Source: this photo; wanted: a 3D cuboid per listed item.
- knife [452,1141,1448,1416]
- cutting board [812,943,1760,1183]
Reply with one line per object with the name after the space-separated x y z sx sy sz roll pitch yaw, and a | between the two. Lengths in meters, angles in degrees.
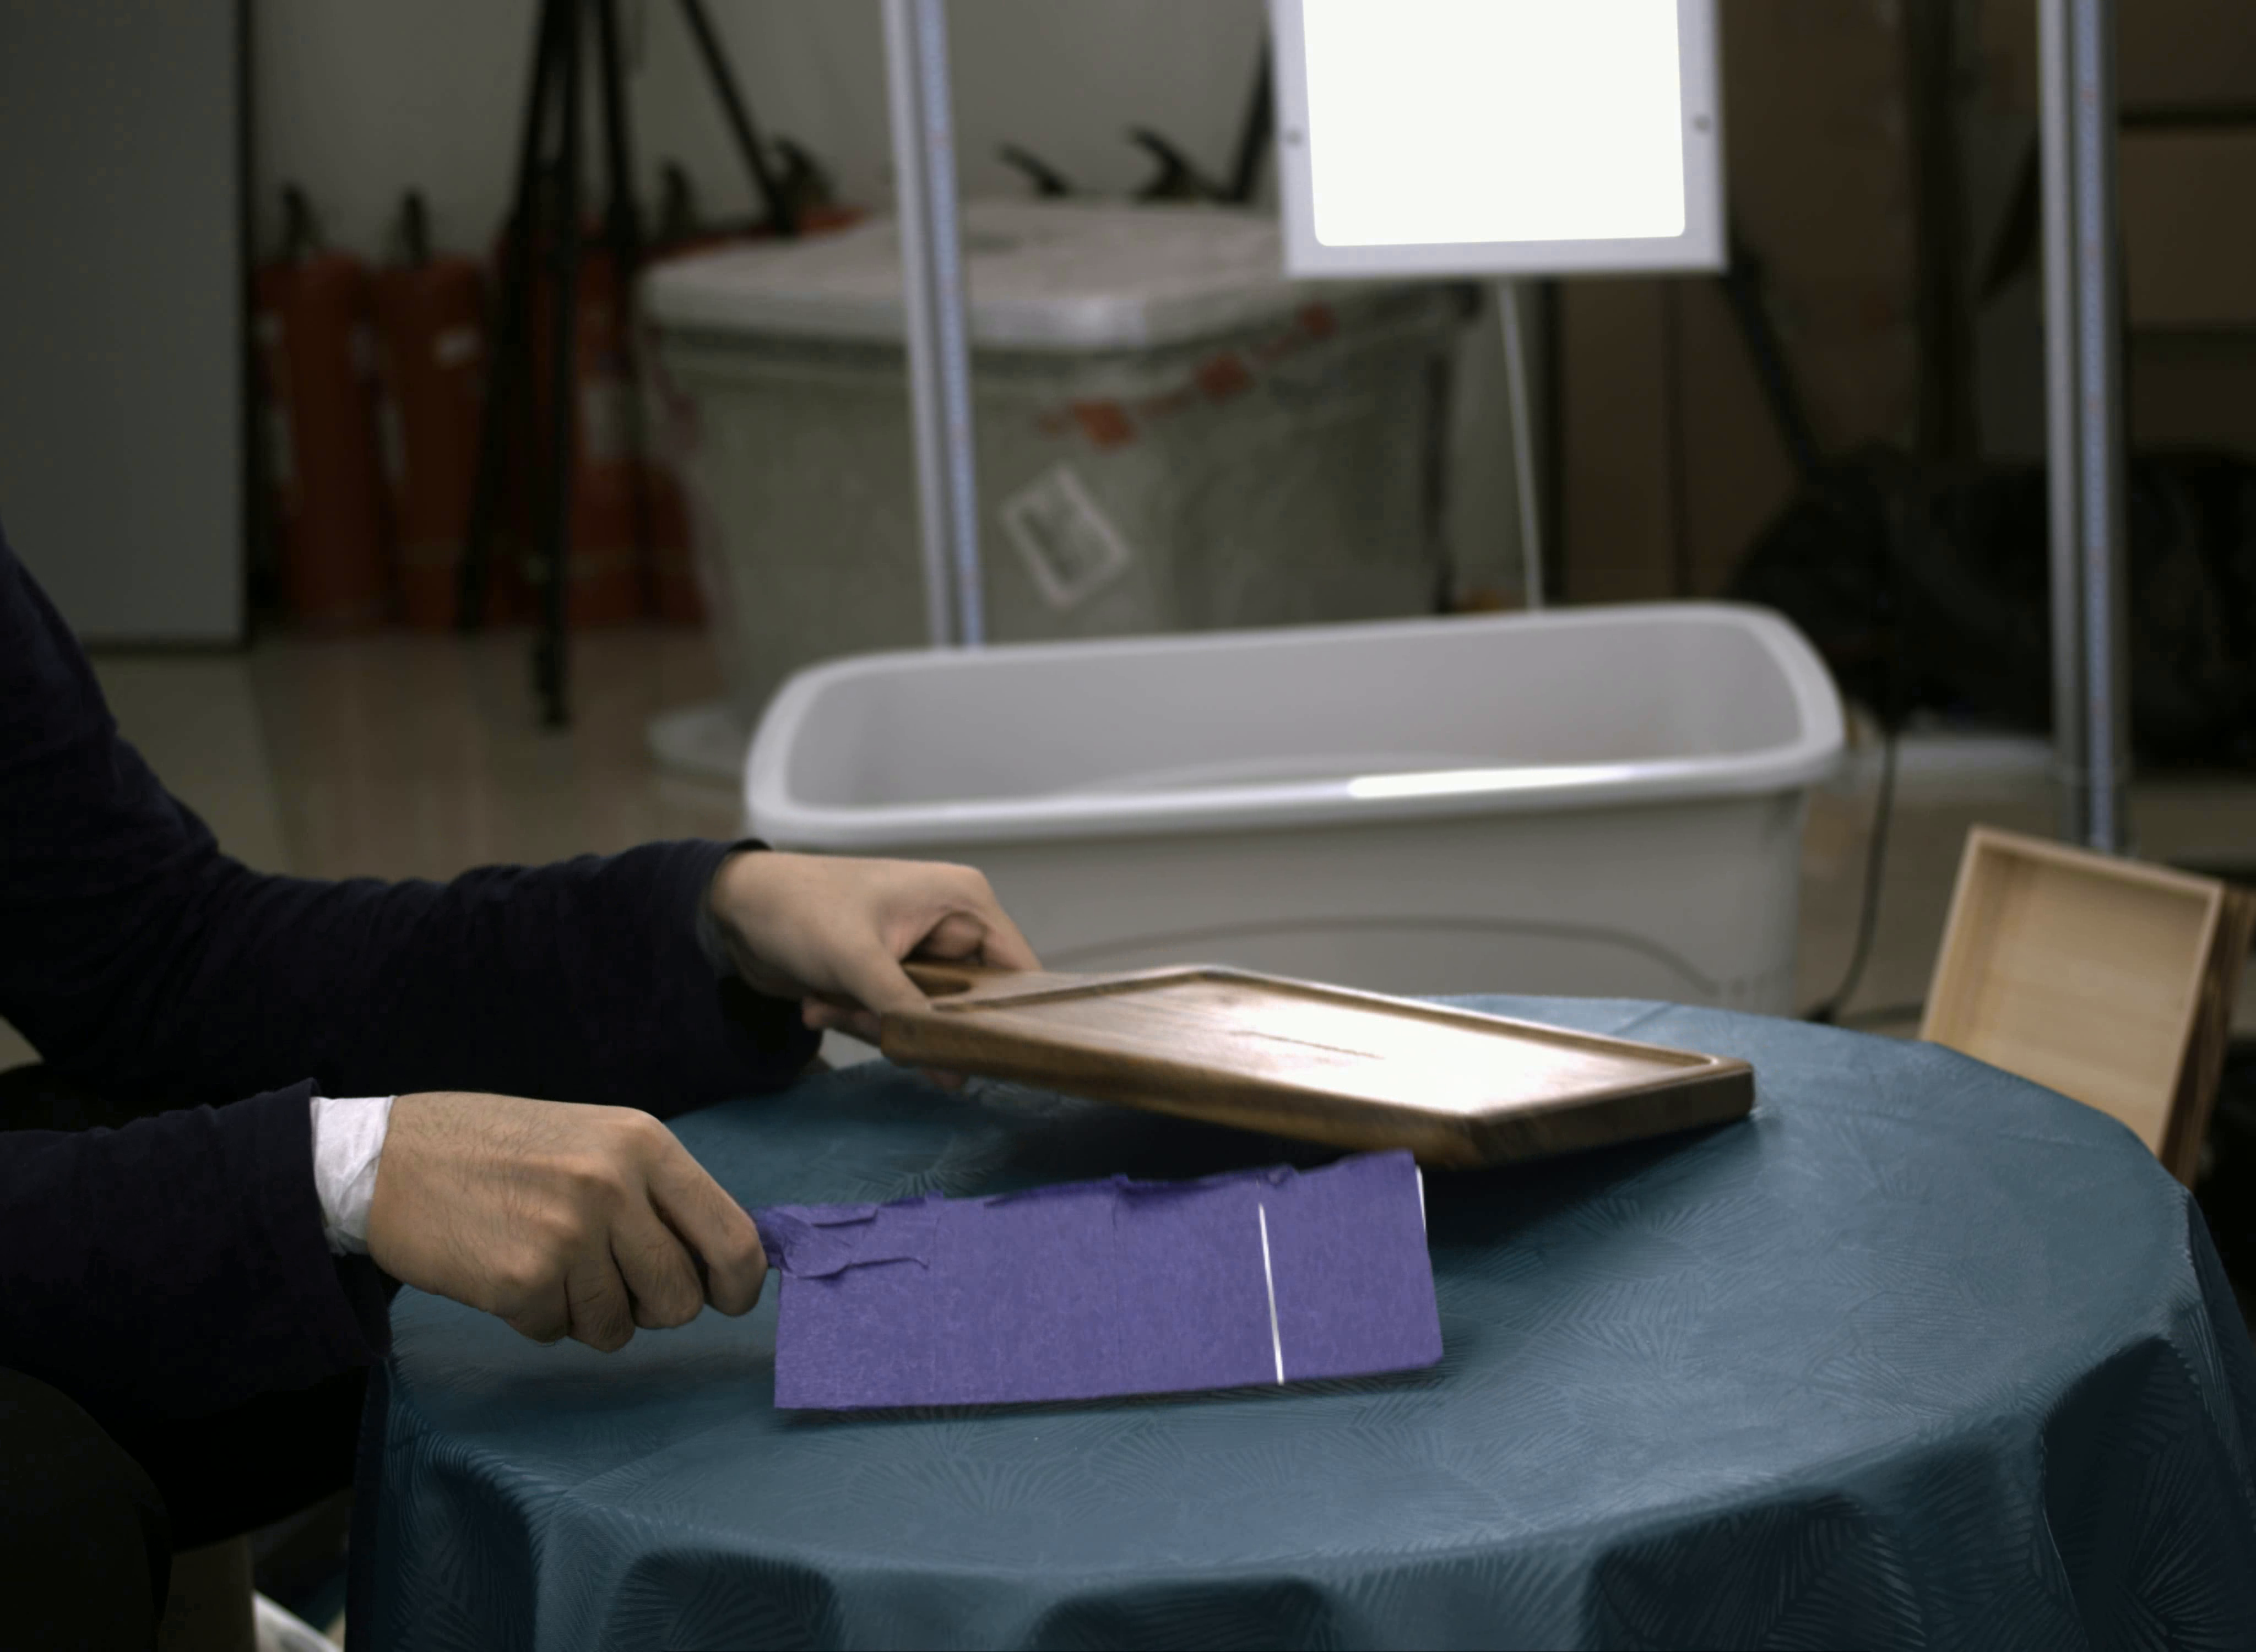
-0.058 0.145 1.724 0.316 0.032 0.103 -6 38 6 | knife
0.029 0.076 1.960 0.359 0.023 0.196 9 10 37 | cutting board
